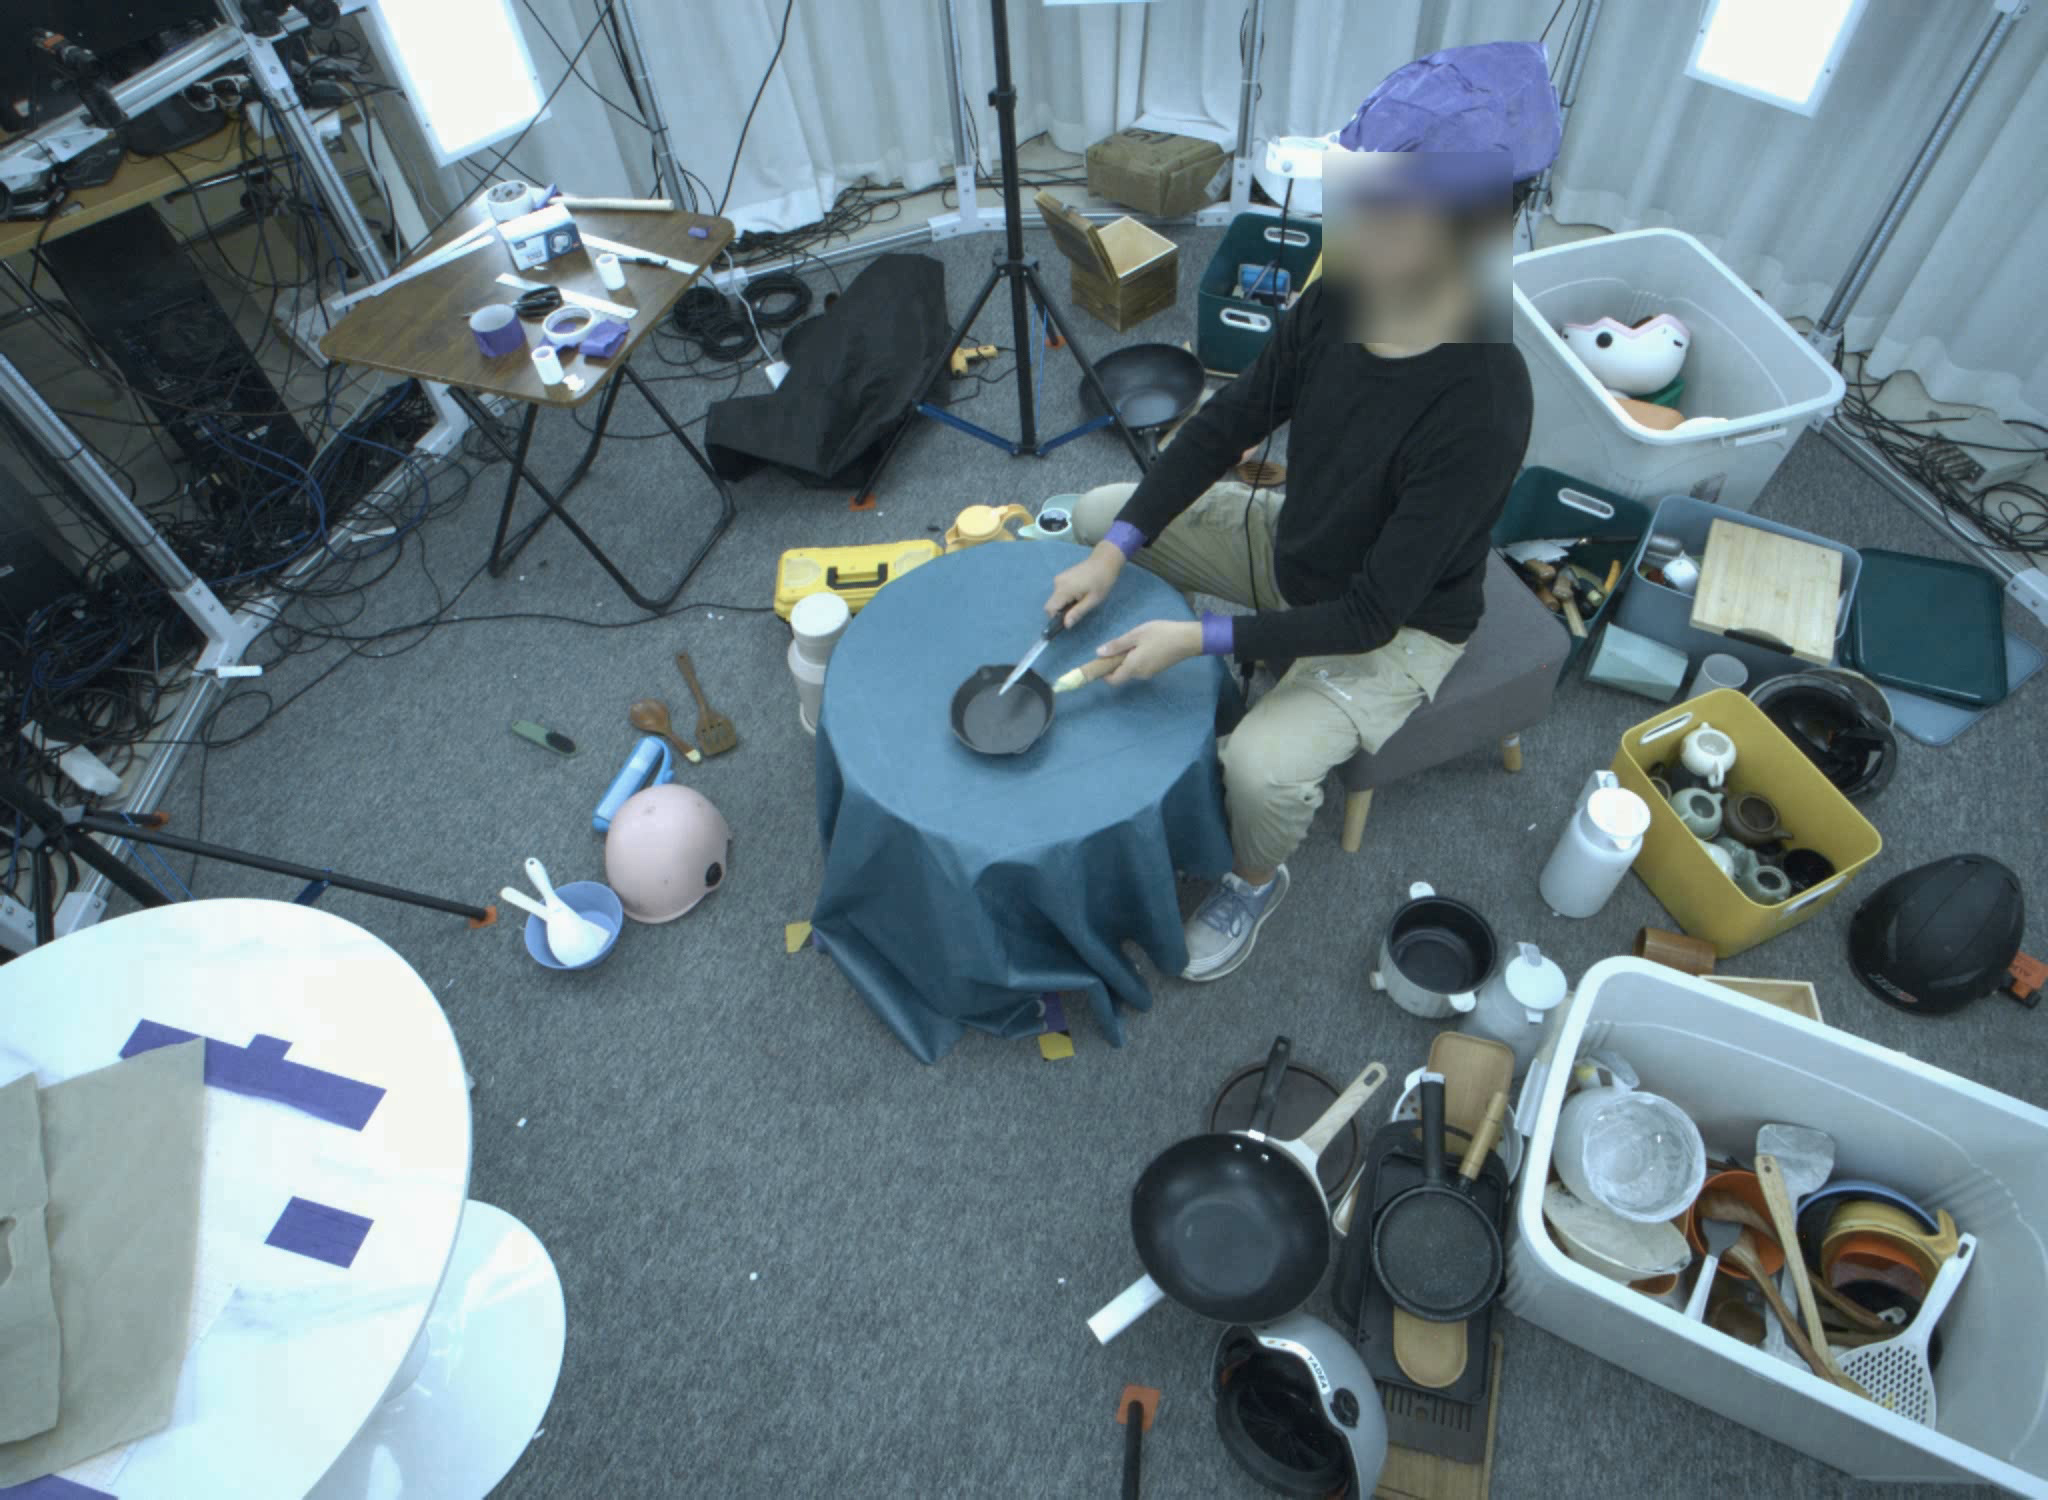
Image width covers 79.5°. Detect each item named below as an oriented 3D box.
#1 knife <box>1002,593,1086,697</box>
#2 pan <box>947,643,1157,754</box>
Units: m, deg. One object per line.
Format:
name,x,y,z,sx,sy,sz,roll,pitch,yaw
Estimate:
knife,0.027,-0.159,1.836,0.024,0.016,0.239,7,48,38
pan,0.046,-0.088,1.798,0.325,0.050,0.166,-20,59,-6
